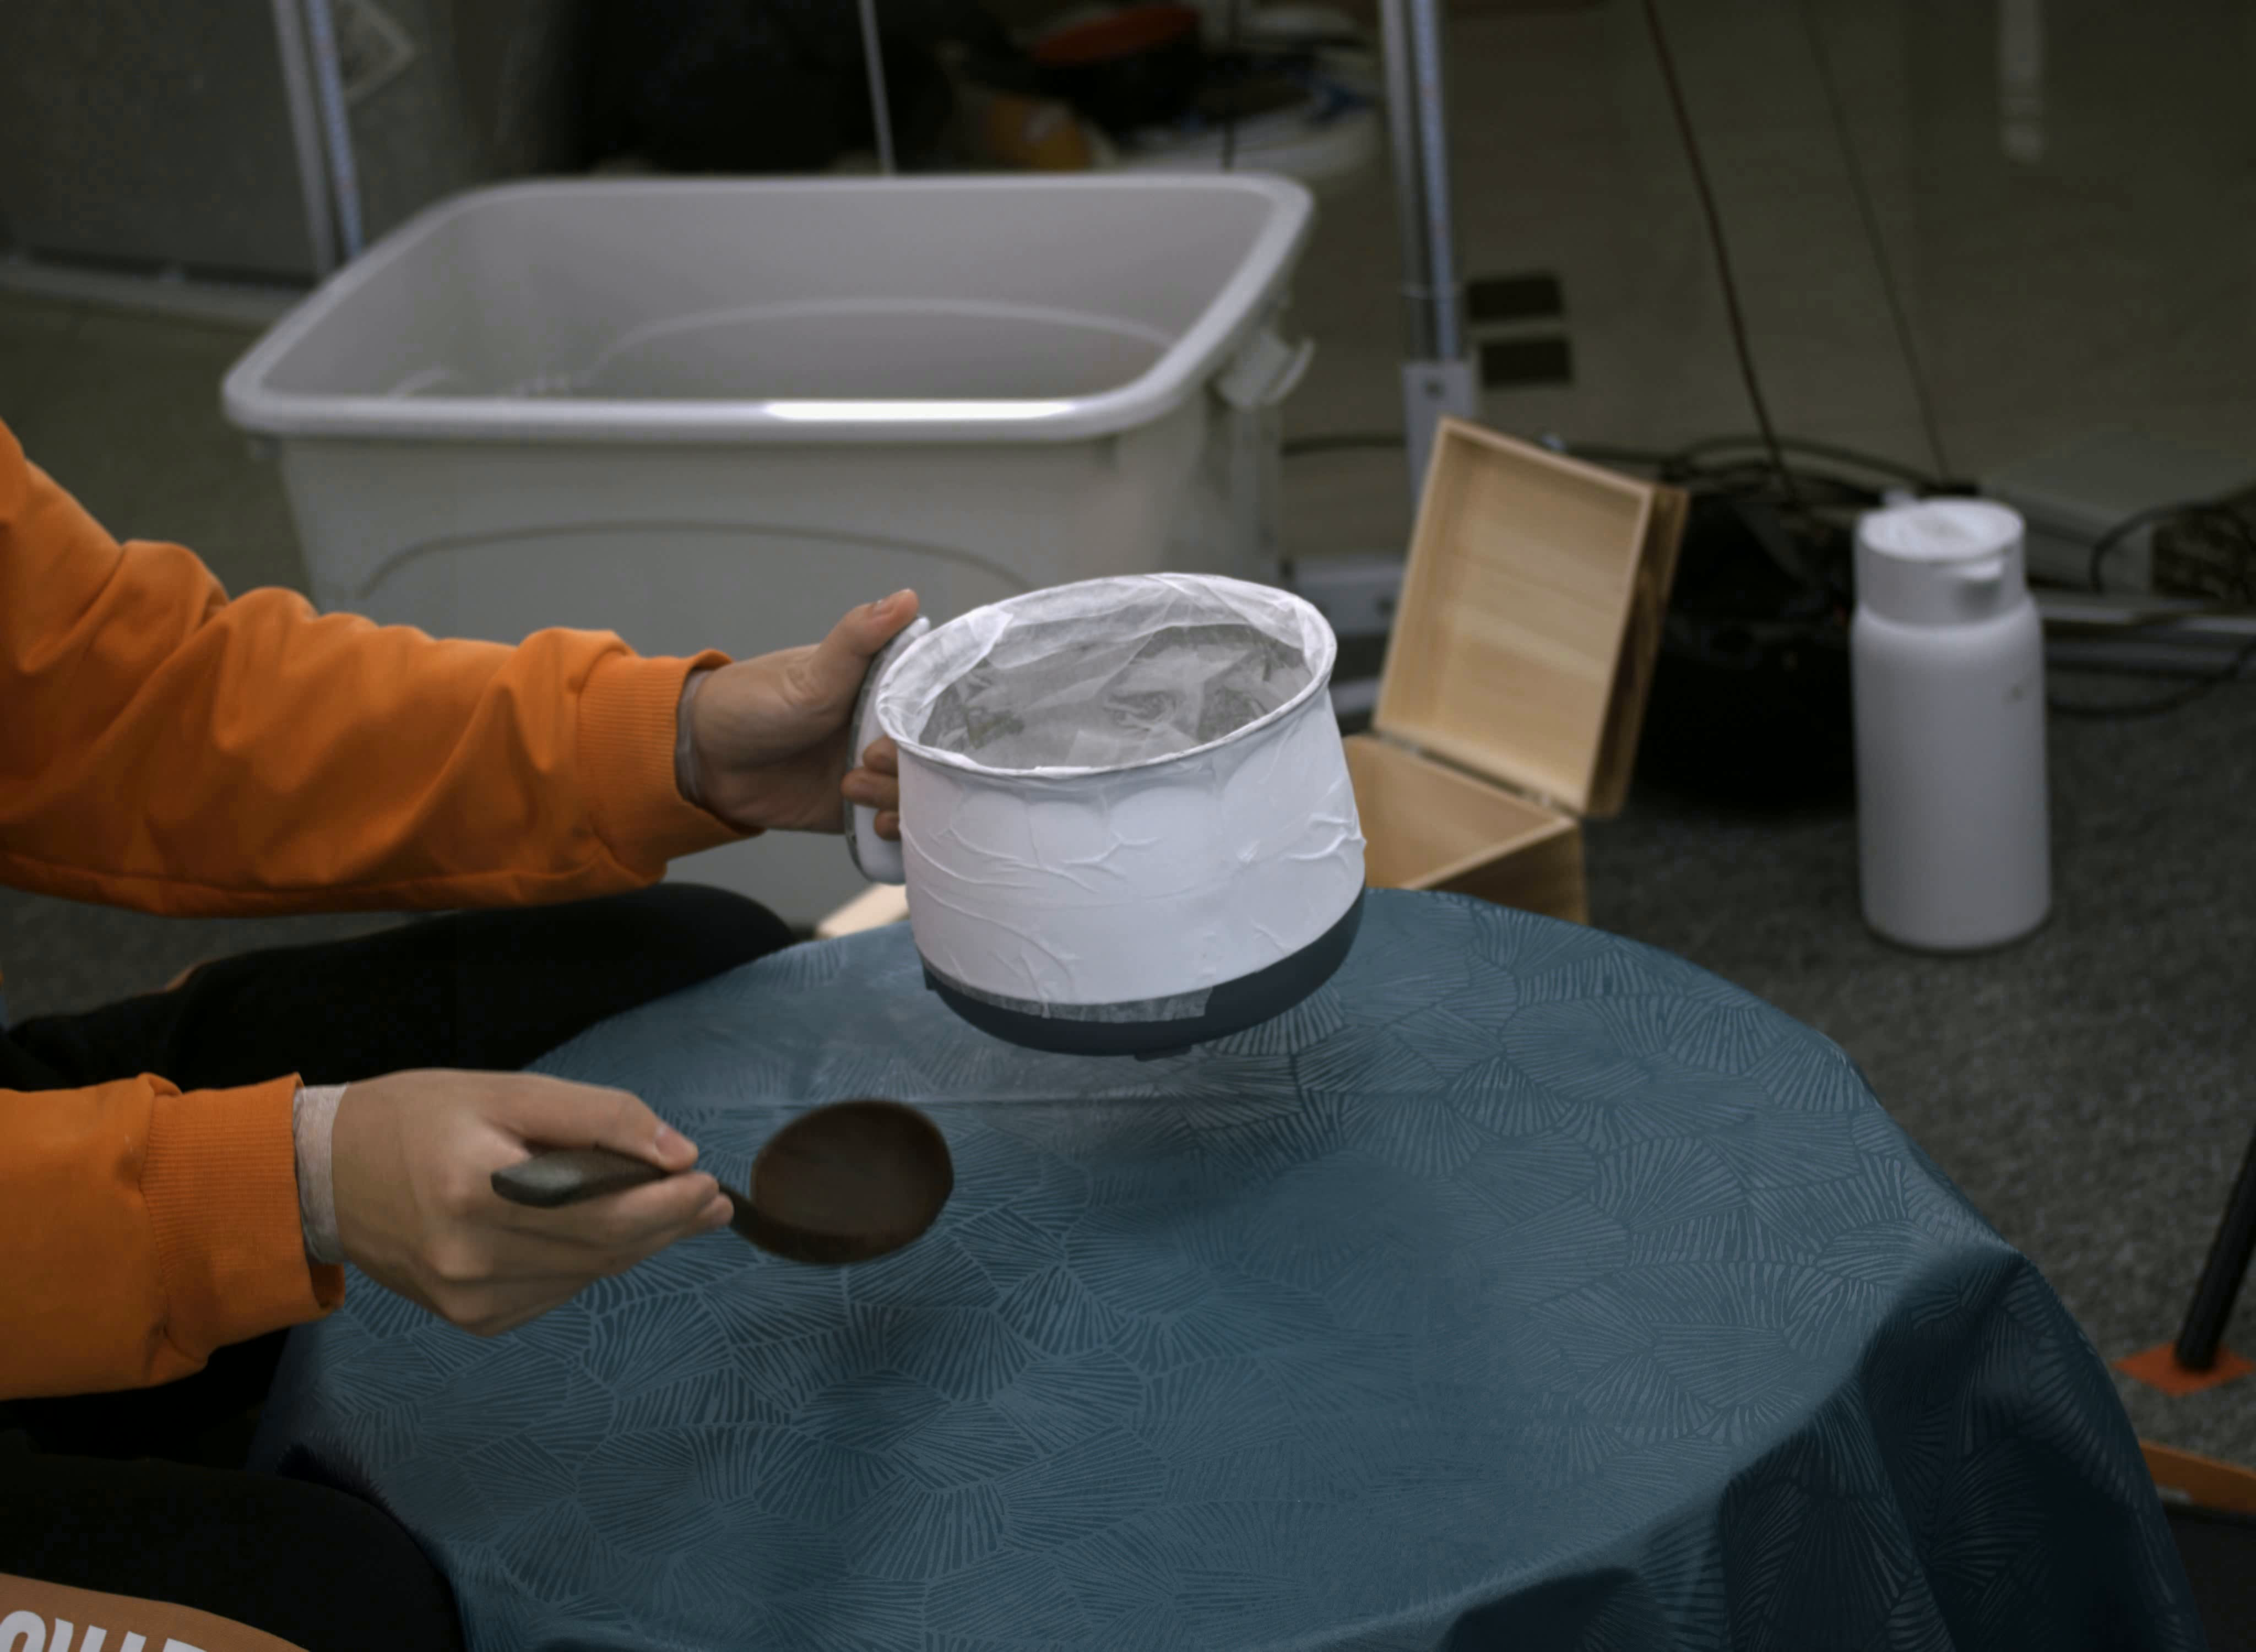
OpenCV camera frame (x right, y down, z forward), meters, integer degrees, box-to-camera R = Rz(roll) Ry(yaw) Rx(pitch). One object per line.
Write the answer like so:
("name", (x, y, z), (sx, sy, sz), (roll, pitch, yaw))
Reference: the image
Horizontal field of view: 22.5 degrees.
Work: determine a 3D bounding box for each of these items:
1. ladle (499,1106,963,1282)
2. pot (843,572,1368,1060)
("ladle", (-0.136, 0.114, 1.952), (0.075, 0.071, 0.276), (13, -5, 23))
("pot", (-0.021, -0.008, 2.181), (0.232, 0.139, 0.177), (14, 33, 37))
